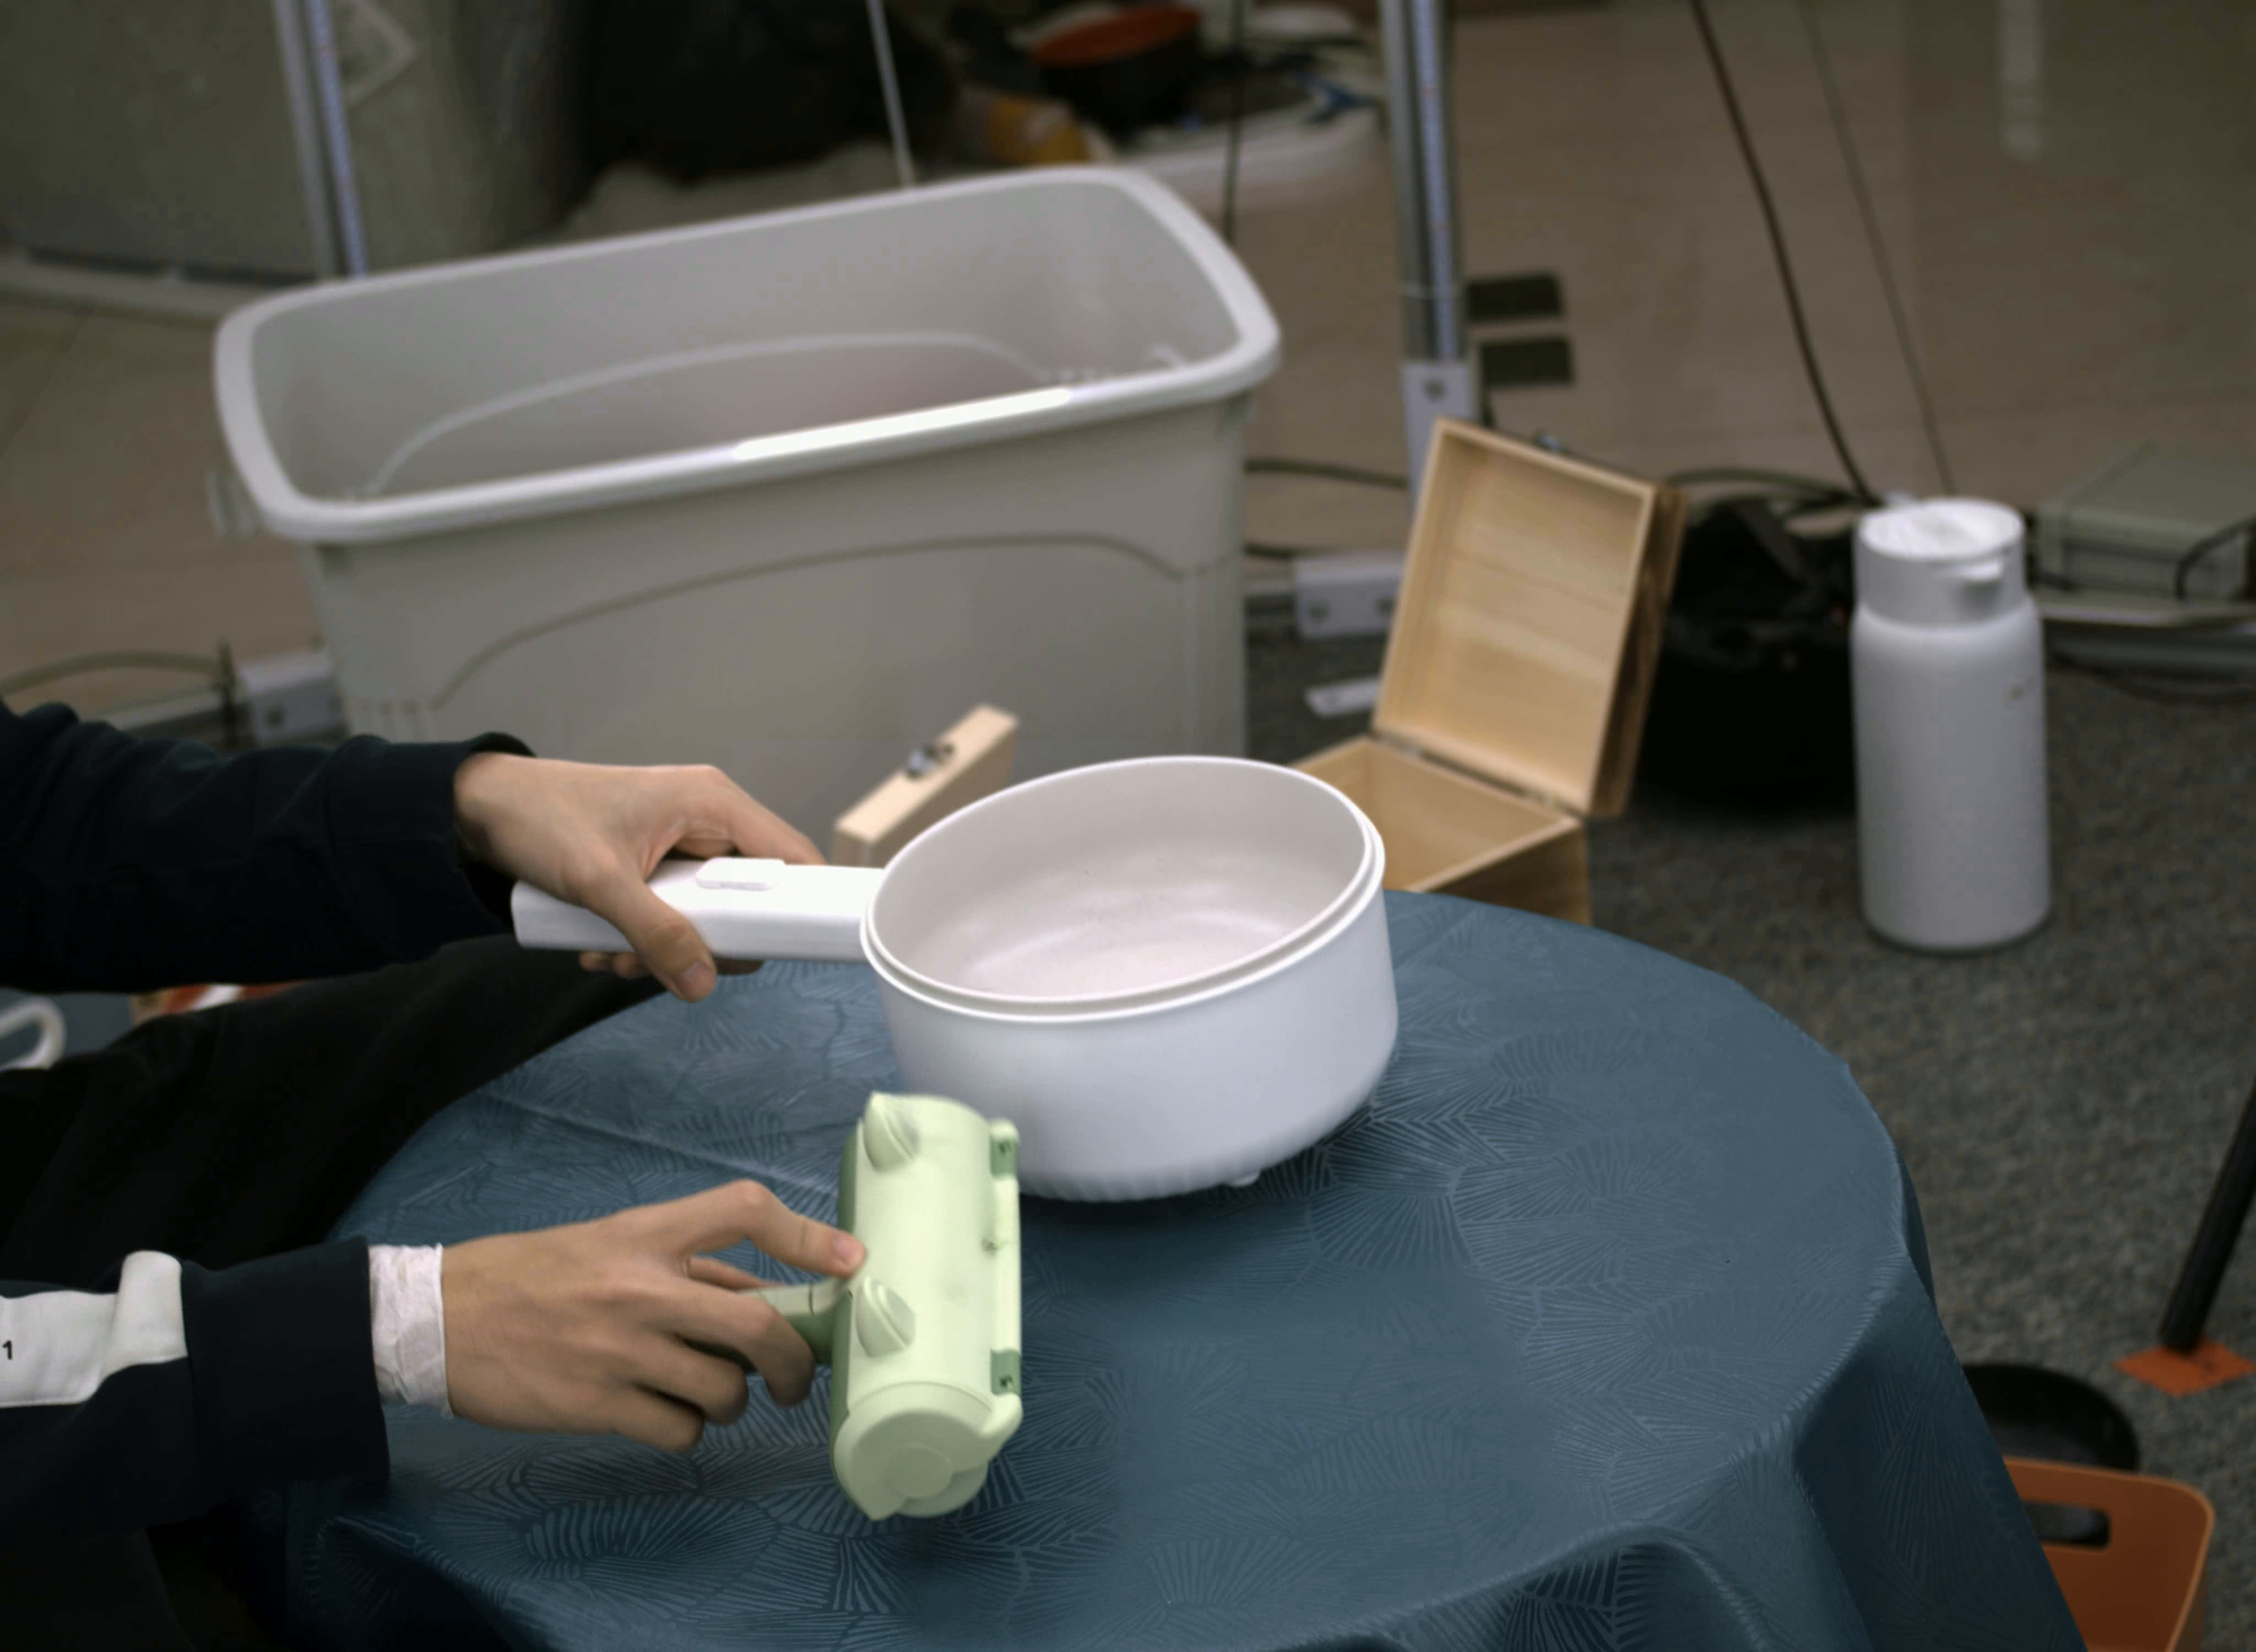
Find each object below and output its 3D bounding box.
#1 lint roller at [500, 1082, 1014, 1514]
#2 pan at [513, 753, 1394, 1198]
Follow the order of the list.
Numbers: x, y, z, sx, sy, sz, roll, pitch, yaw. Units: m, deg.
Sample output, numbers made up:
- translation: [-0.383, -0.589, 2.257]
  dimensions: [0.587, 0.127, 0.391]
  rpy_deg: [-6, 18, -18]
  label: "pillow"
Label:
- translation: [-0.131, 0.159, 1.970]
  dimensions: [0.183, 0.083, 0.195]
  rpy_deg: [-4, 31, 1]
  label: "lint roller"
- translation: [-0.068, 0.060, 2.192]
  dimensions: [0.354, 0.104, 0.198]
  rpy_deg: [1, 29, 23]
  label: "pan"
